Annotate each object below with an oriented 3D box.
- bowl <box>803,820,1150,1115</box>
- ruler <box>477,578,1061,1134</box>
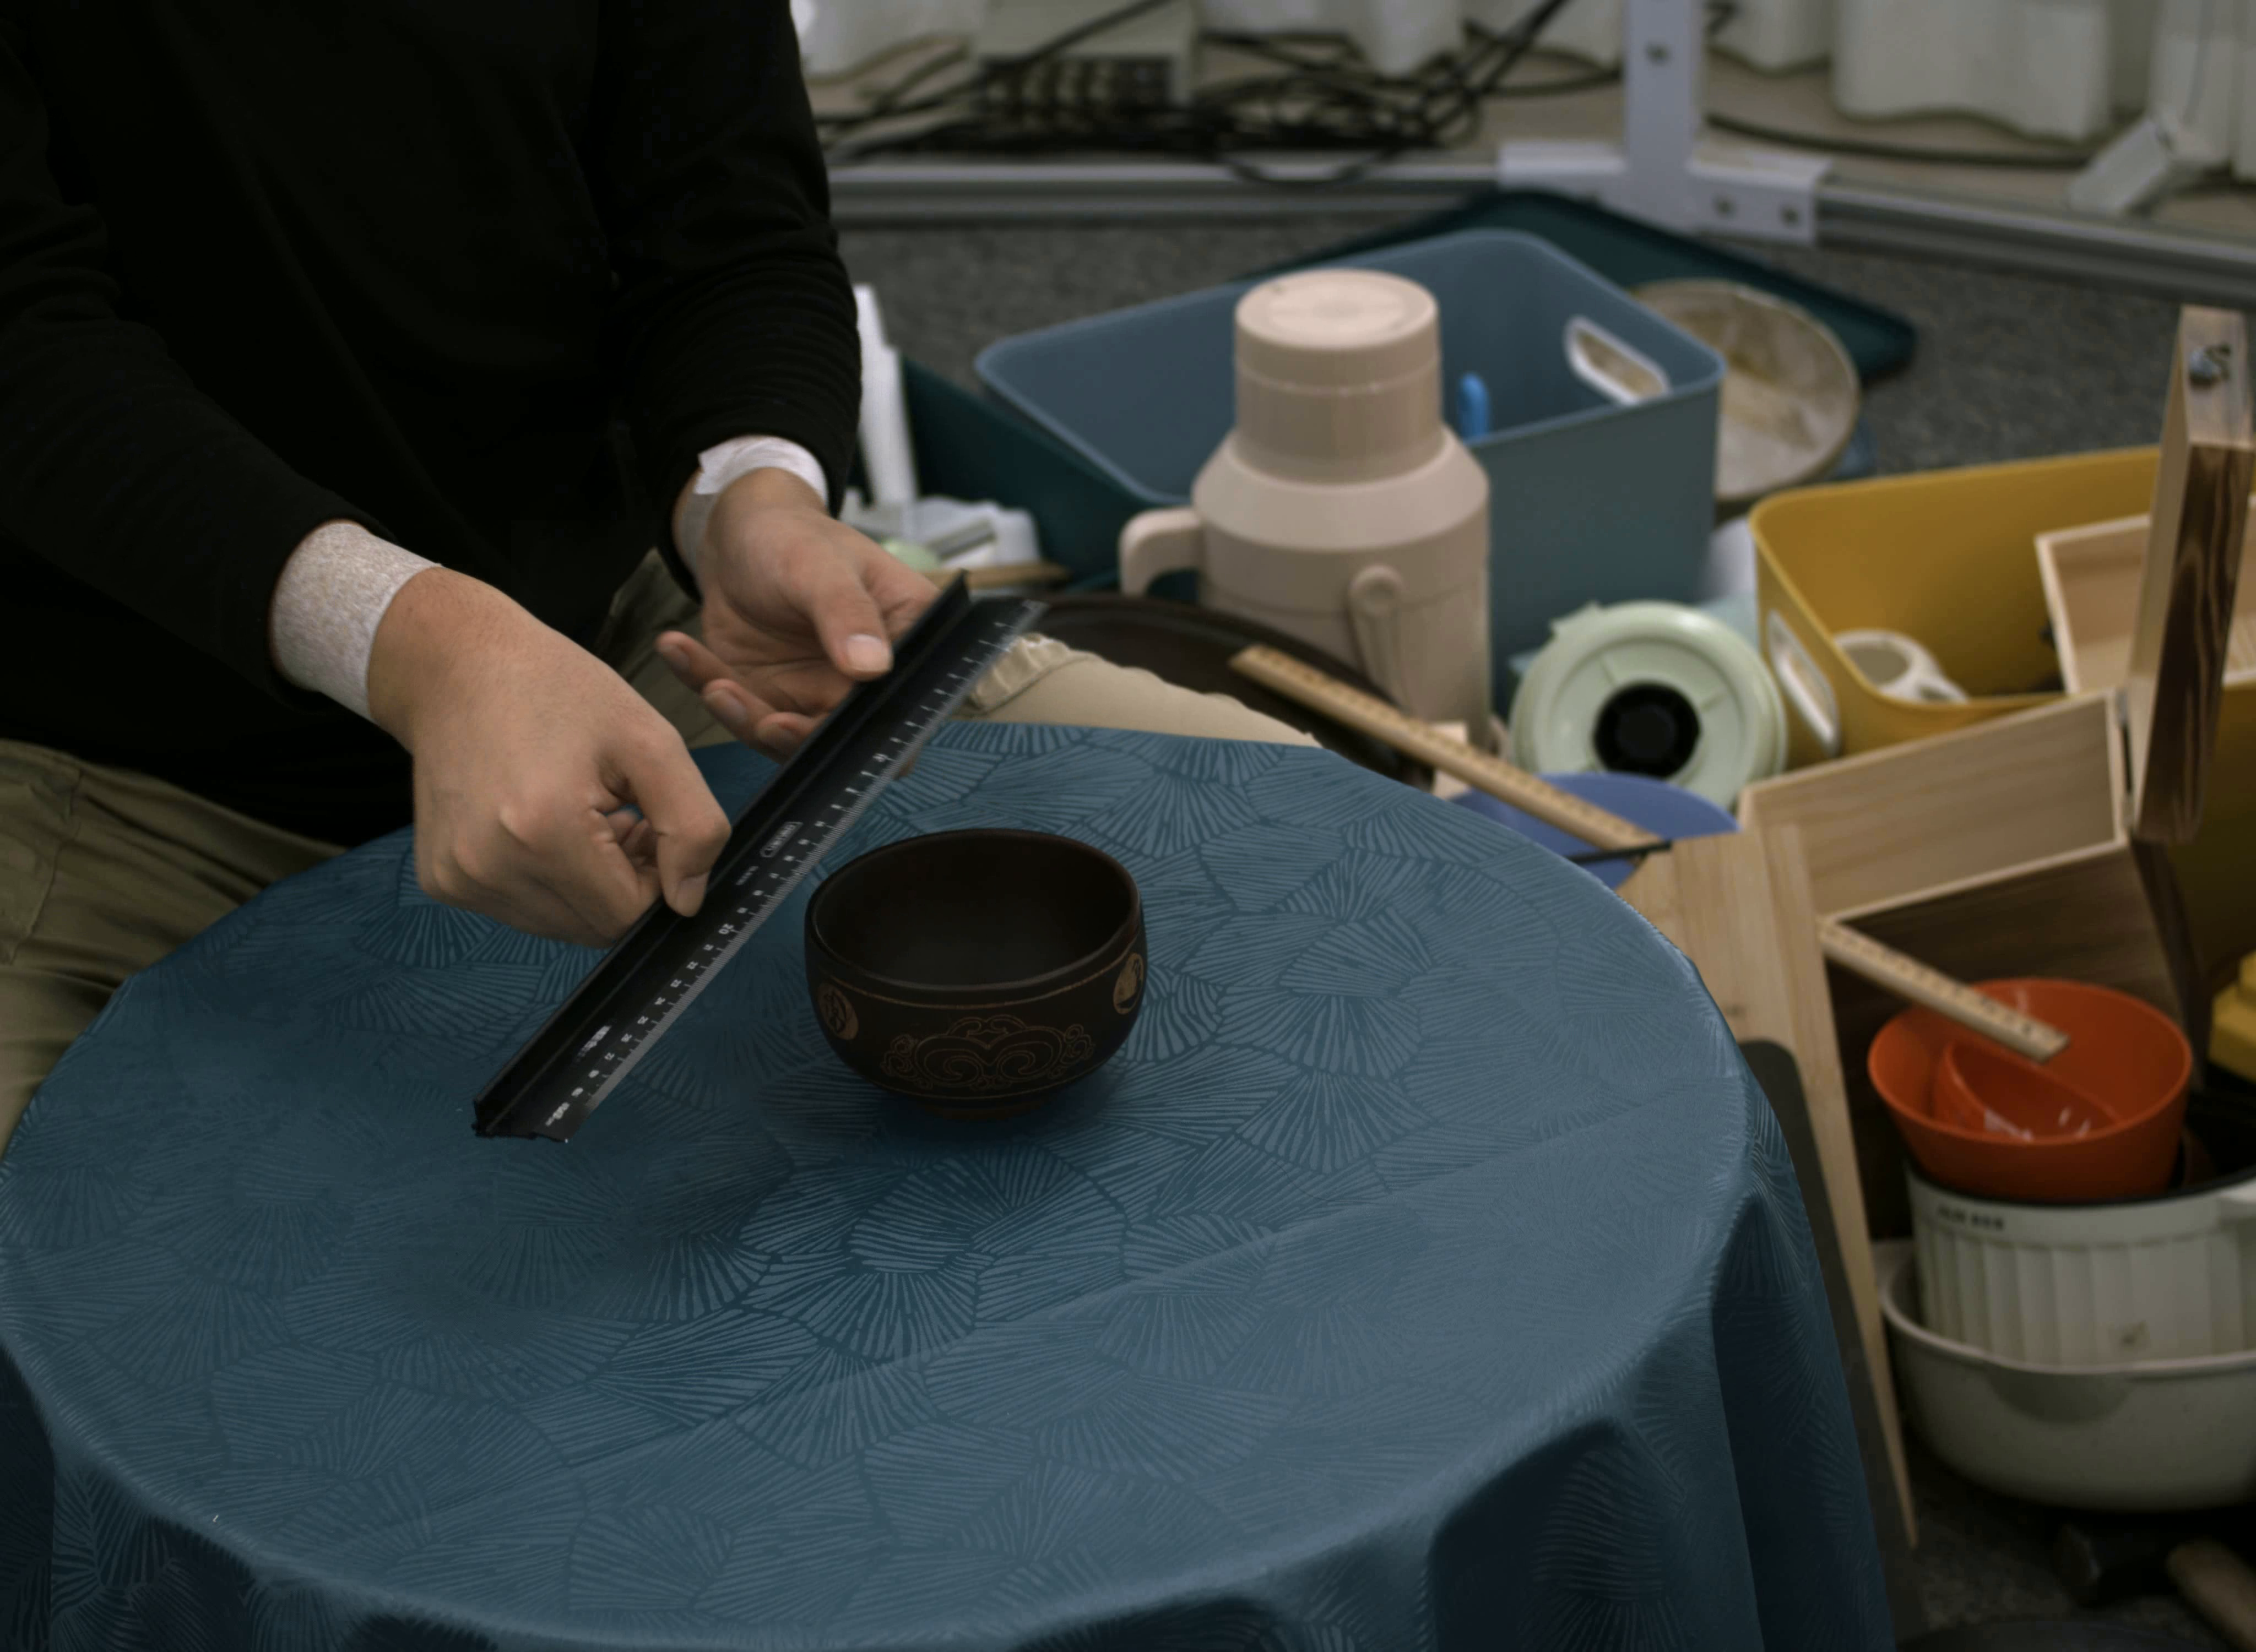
[{"bbox_3d":[-0.051,0.055,1.916,0.117,0.069,0.120,-2,27,1],"label":"bowl"},{"bbox_3d":[-0.116,0.005,1.873,0.039,0.017,0.318,5,36,33],"label":"ruler"}]
